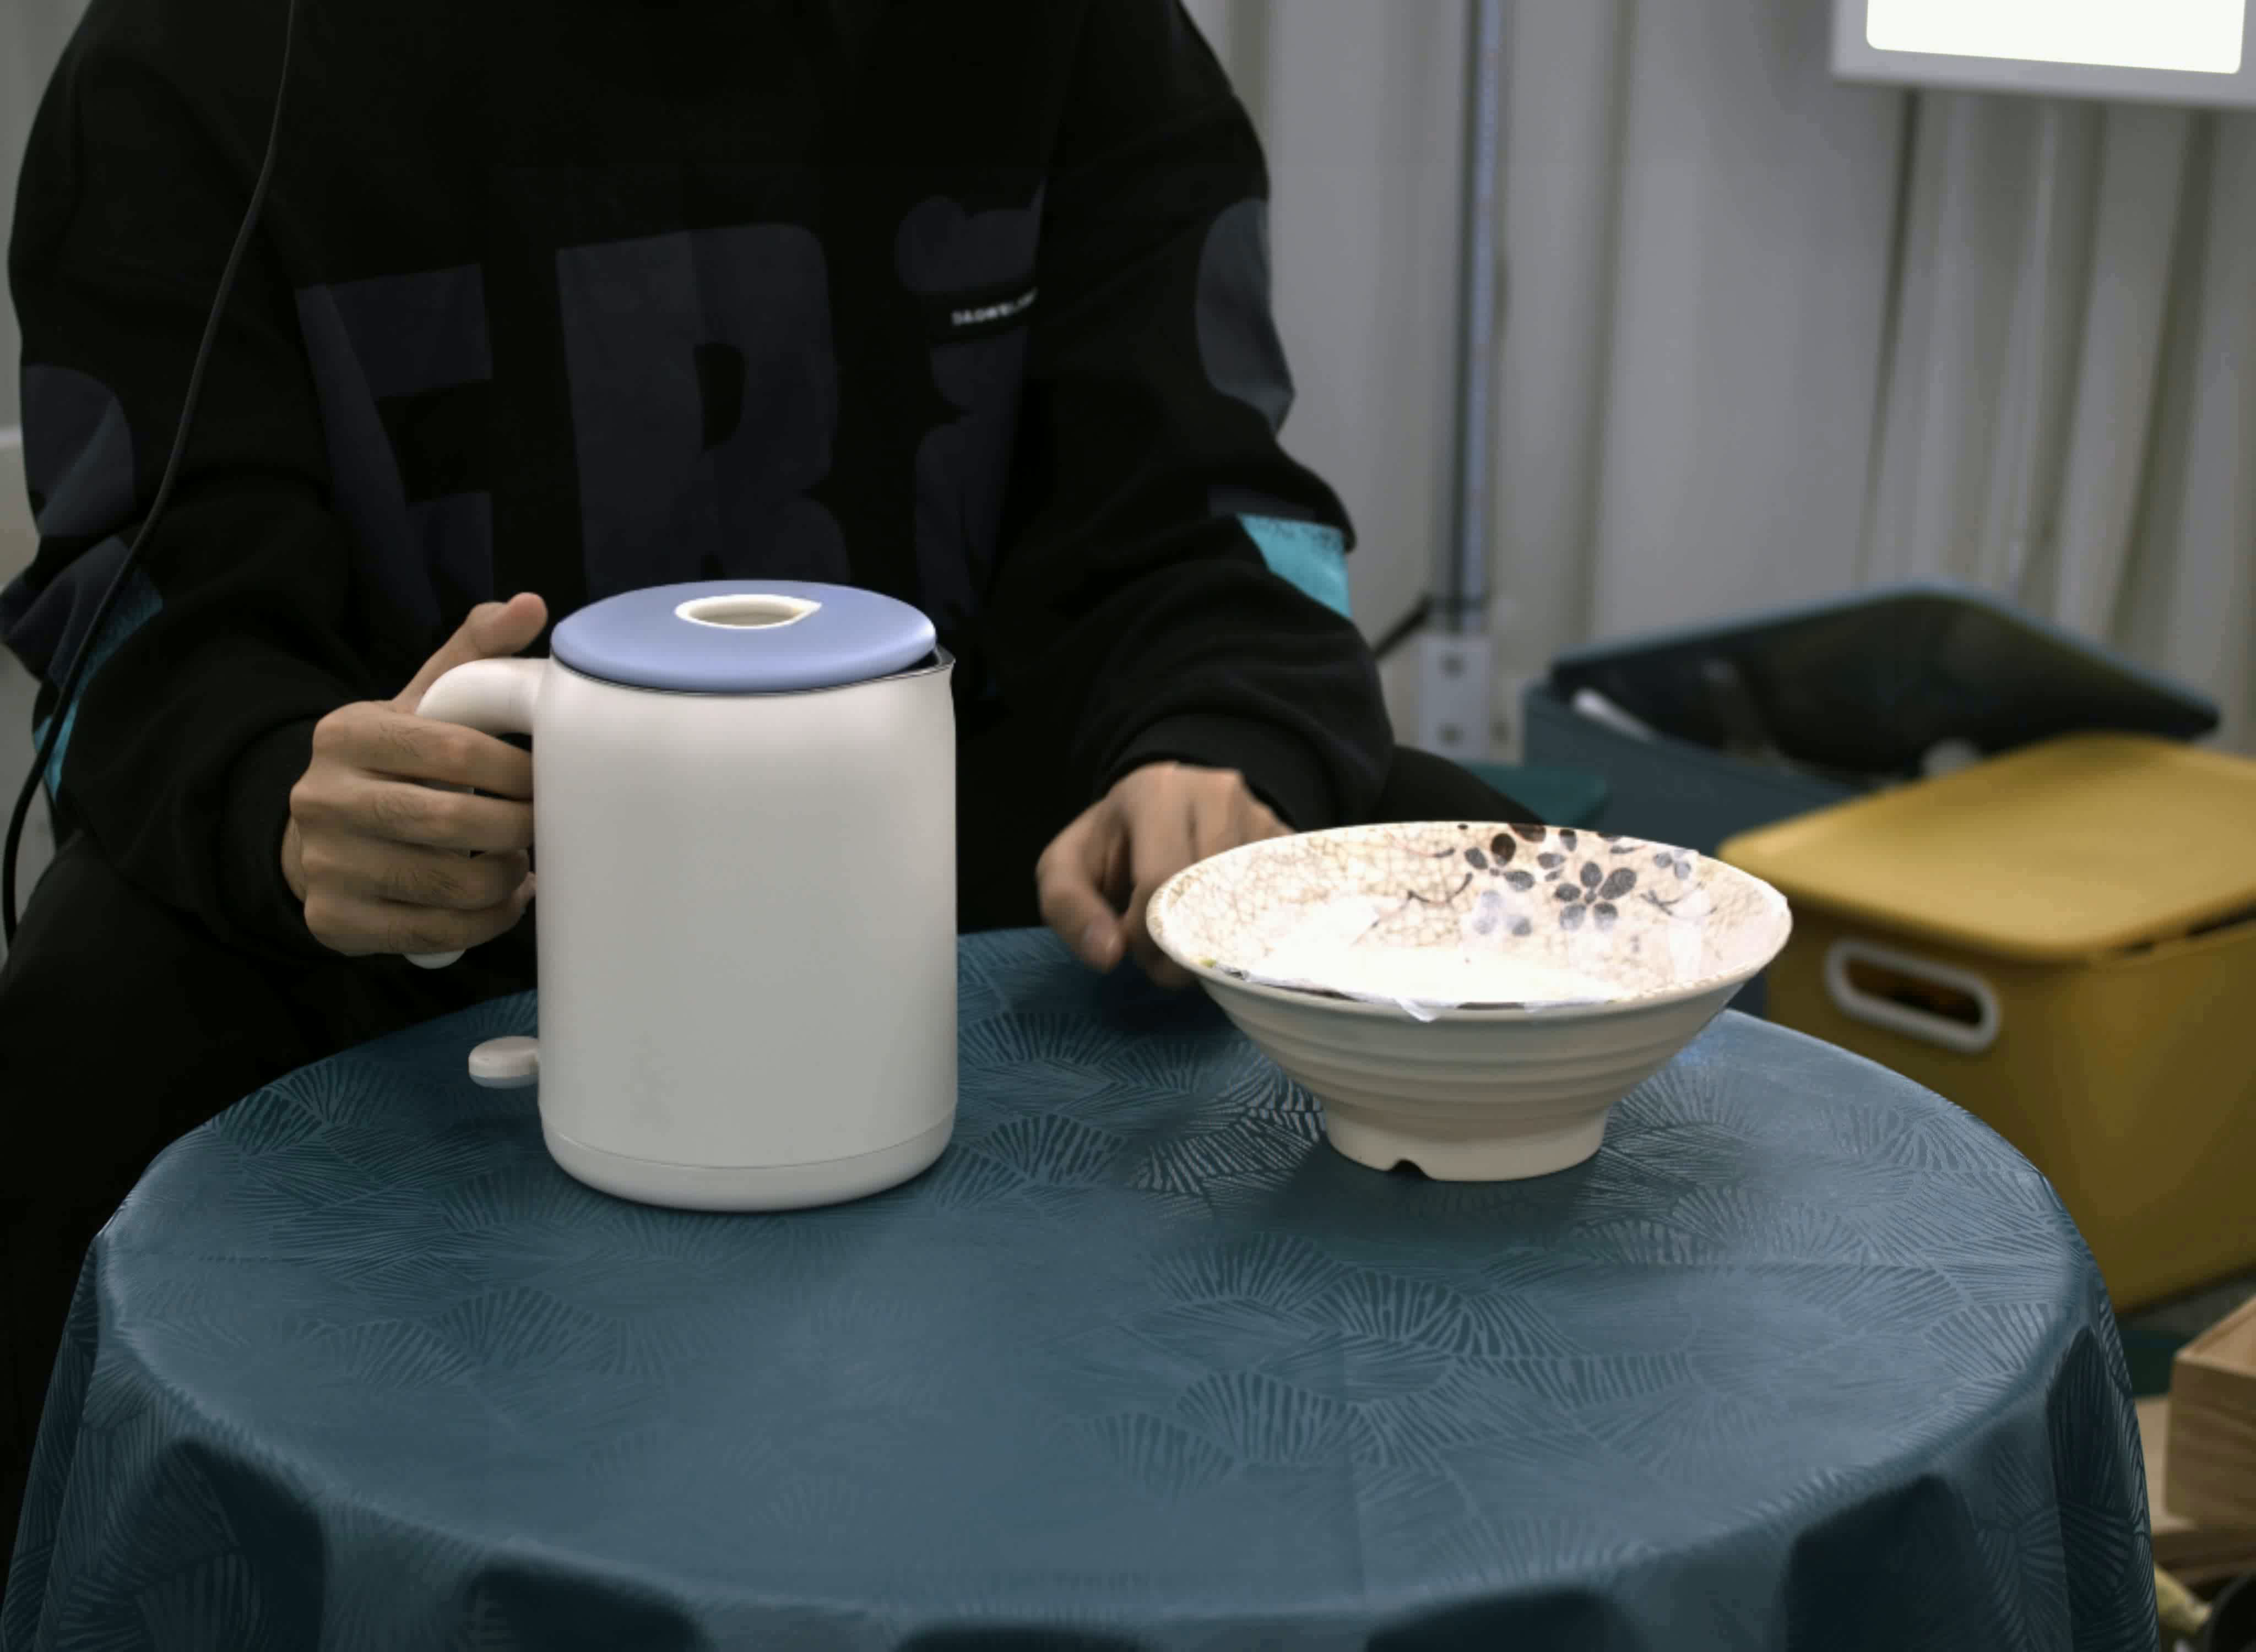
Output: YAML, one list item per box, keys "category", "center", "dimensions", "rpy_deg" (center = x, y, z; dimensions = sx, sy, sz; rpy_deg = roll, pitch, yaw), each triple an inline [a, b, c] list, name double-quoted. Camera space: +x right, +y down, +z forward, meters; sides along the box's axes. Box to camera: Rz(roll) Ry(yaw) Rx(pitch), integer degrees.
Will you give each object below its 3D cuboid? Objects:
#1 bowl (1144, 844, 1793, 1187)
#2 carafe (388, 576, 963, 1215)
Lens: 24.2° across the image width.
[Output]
- category: "bowl"
  center: [0.106, 0.064, 1.656]
  dimensions: [0.203, 0.078, 0.203]
  rpy_deg: [0, 13, 0]
- category: "carafe"
  center: [-0.141, 0.019, 1.632]
  dimensions: [0.189, 0.184, 0.132]
  rpy_deg: [2, 15, 16]
